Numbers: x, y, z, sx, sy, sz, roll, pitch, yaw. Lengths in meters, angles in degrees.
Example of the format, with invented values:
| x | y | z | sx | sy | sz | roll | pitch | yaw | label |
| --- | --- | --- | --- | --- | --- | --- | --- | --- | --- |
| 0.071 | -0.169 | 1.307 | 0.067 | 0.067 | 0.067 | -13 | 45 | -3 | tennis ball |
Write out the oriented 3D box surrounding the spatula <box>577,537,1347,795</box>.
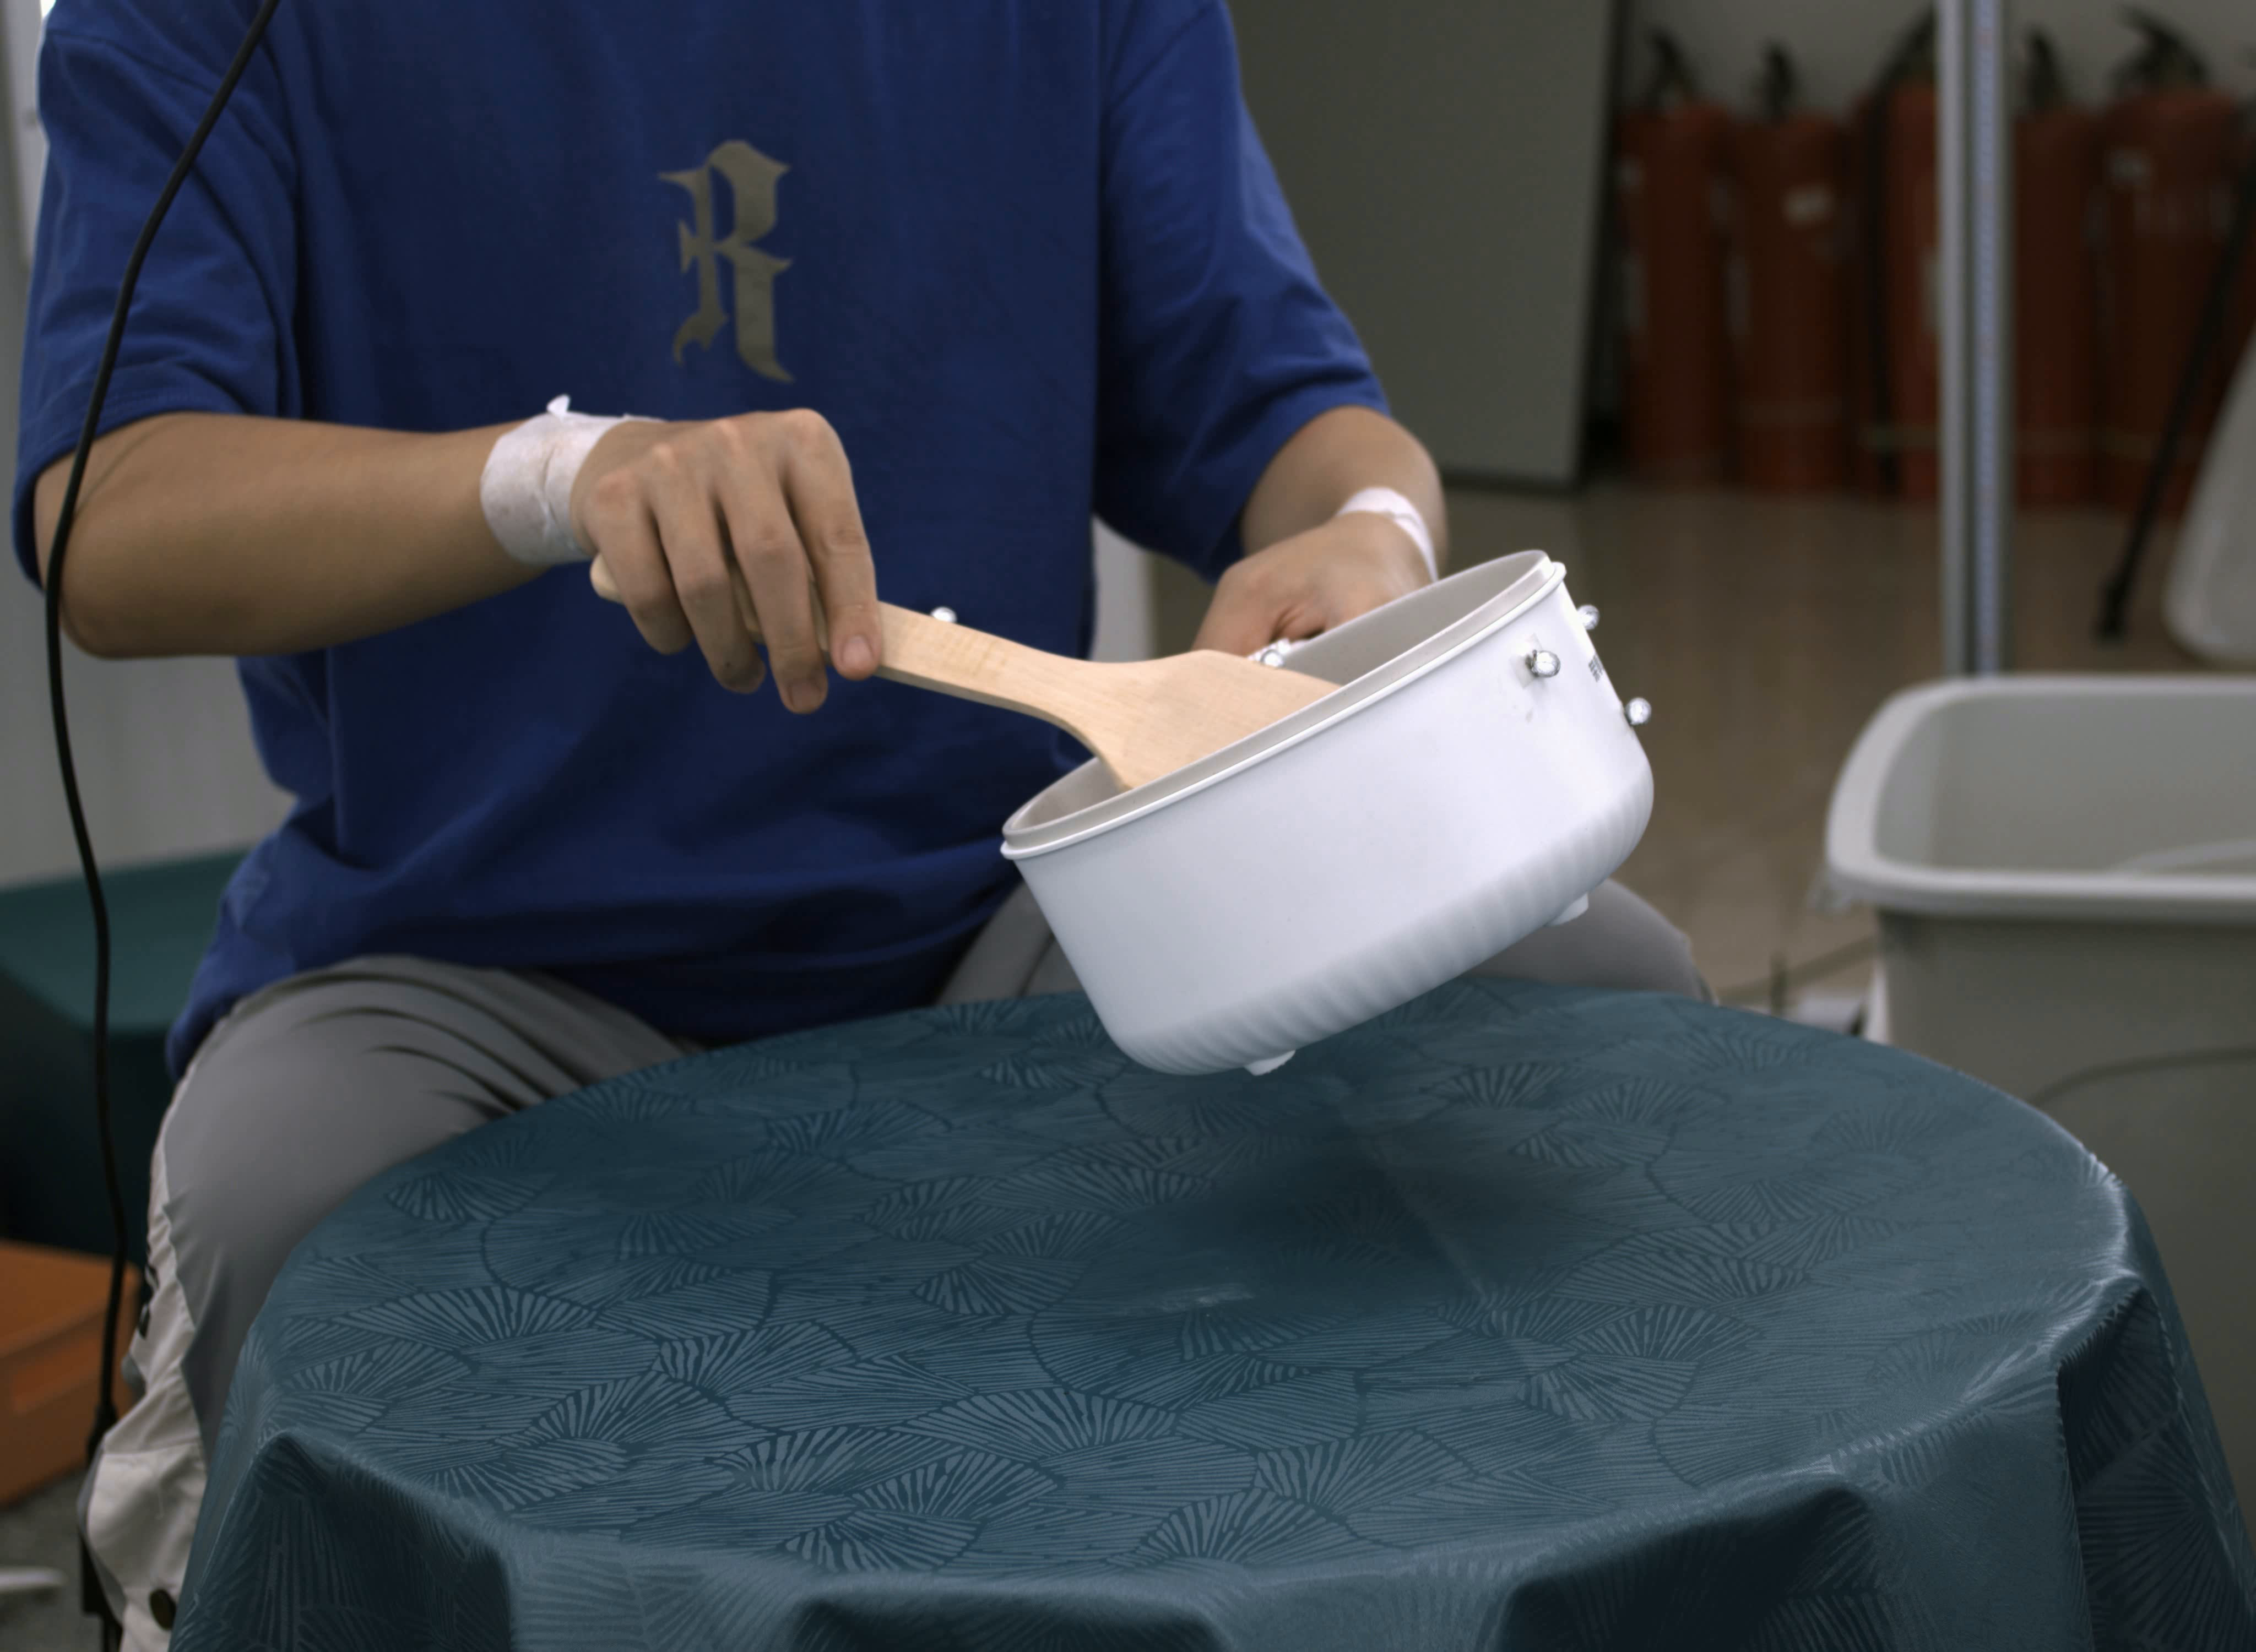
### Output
| x | y | z | sx | sy | sz | roll | pitch | yaw | label |
| --- | --- | --- | --- | --- | --- | --- | --- | --- | --- |
| -0.049 | -0.052 | 1.756 | 0.293 | 0.010 | 0.072 | 16 | 53 | 21 | spatula |

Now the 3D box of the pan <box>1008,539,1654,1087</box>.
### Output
| x | y | z | sx | sy | sz | roll | pitch | yaw | label |
| --- | --- | --- | --- | --- | --- | --- | --- | --- | --- |
| 0.070 | -0.007 | 1.786 | 0.200 | 0.102 | 0.355 | -30 | 5 | 3 | pan |
